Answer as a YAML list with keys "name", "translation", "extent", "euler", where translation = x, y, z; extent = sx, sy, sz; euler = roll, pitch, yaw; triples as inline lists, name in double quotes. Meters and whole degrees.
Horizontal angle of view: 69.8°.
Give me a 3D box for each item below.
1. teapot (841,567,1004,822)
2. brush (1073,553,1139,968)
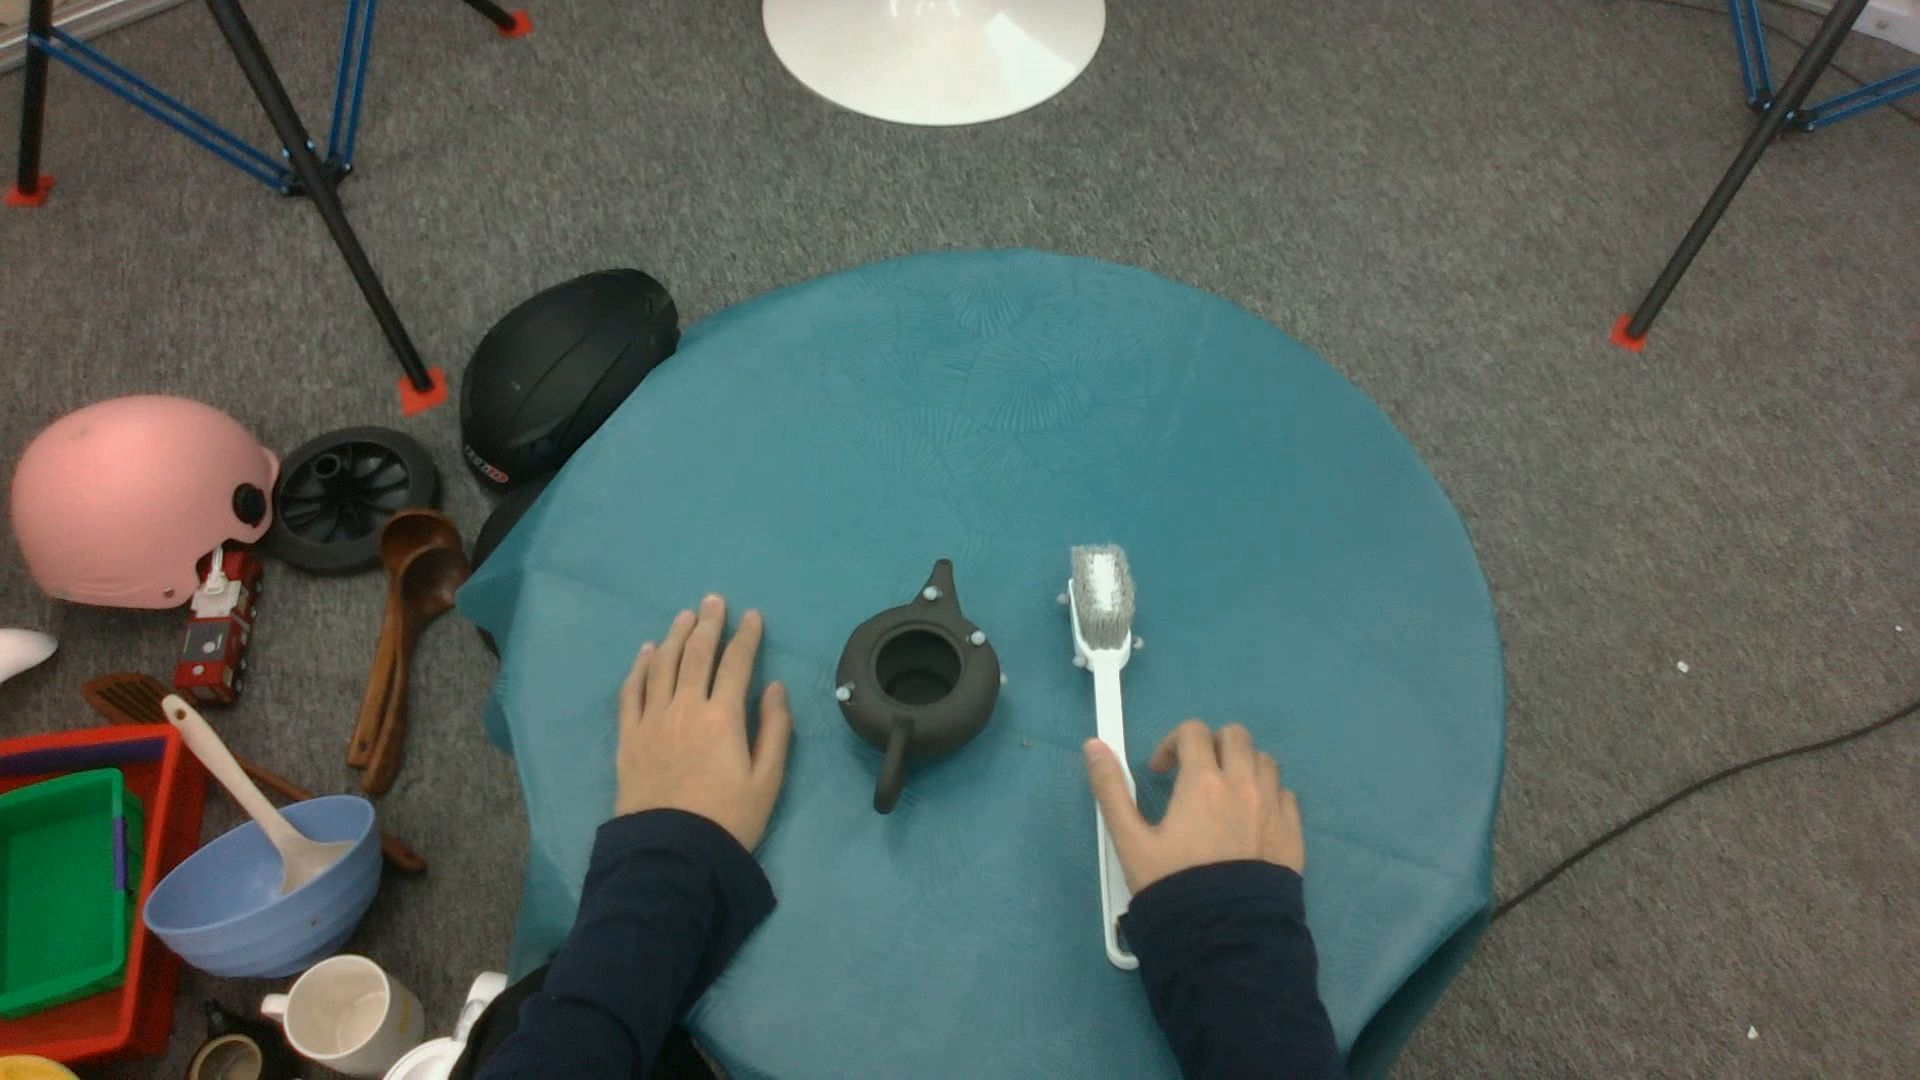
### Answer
- name: "teapot"
  translation: [-0.022, 0.089, 0.790]
  extent: [0.092, 0.064, 0.155]
  euler: [13, 60, 6]
- name: "brush"
  translation: [0.086, 0.115, 0.784]
  extent: [0.034, 0.050, 0.244]
  euler: [4, 58, -4]
